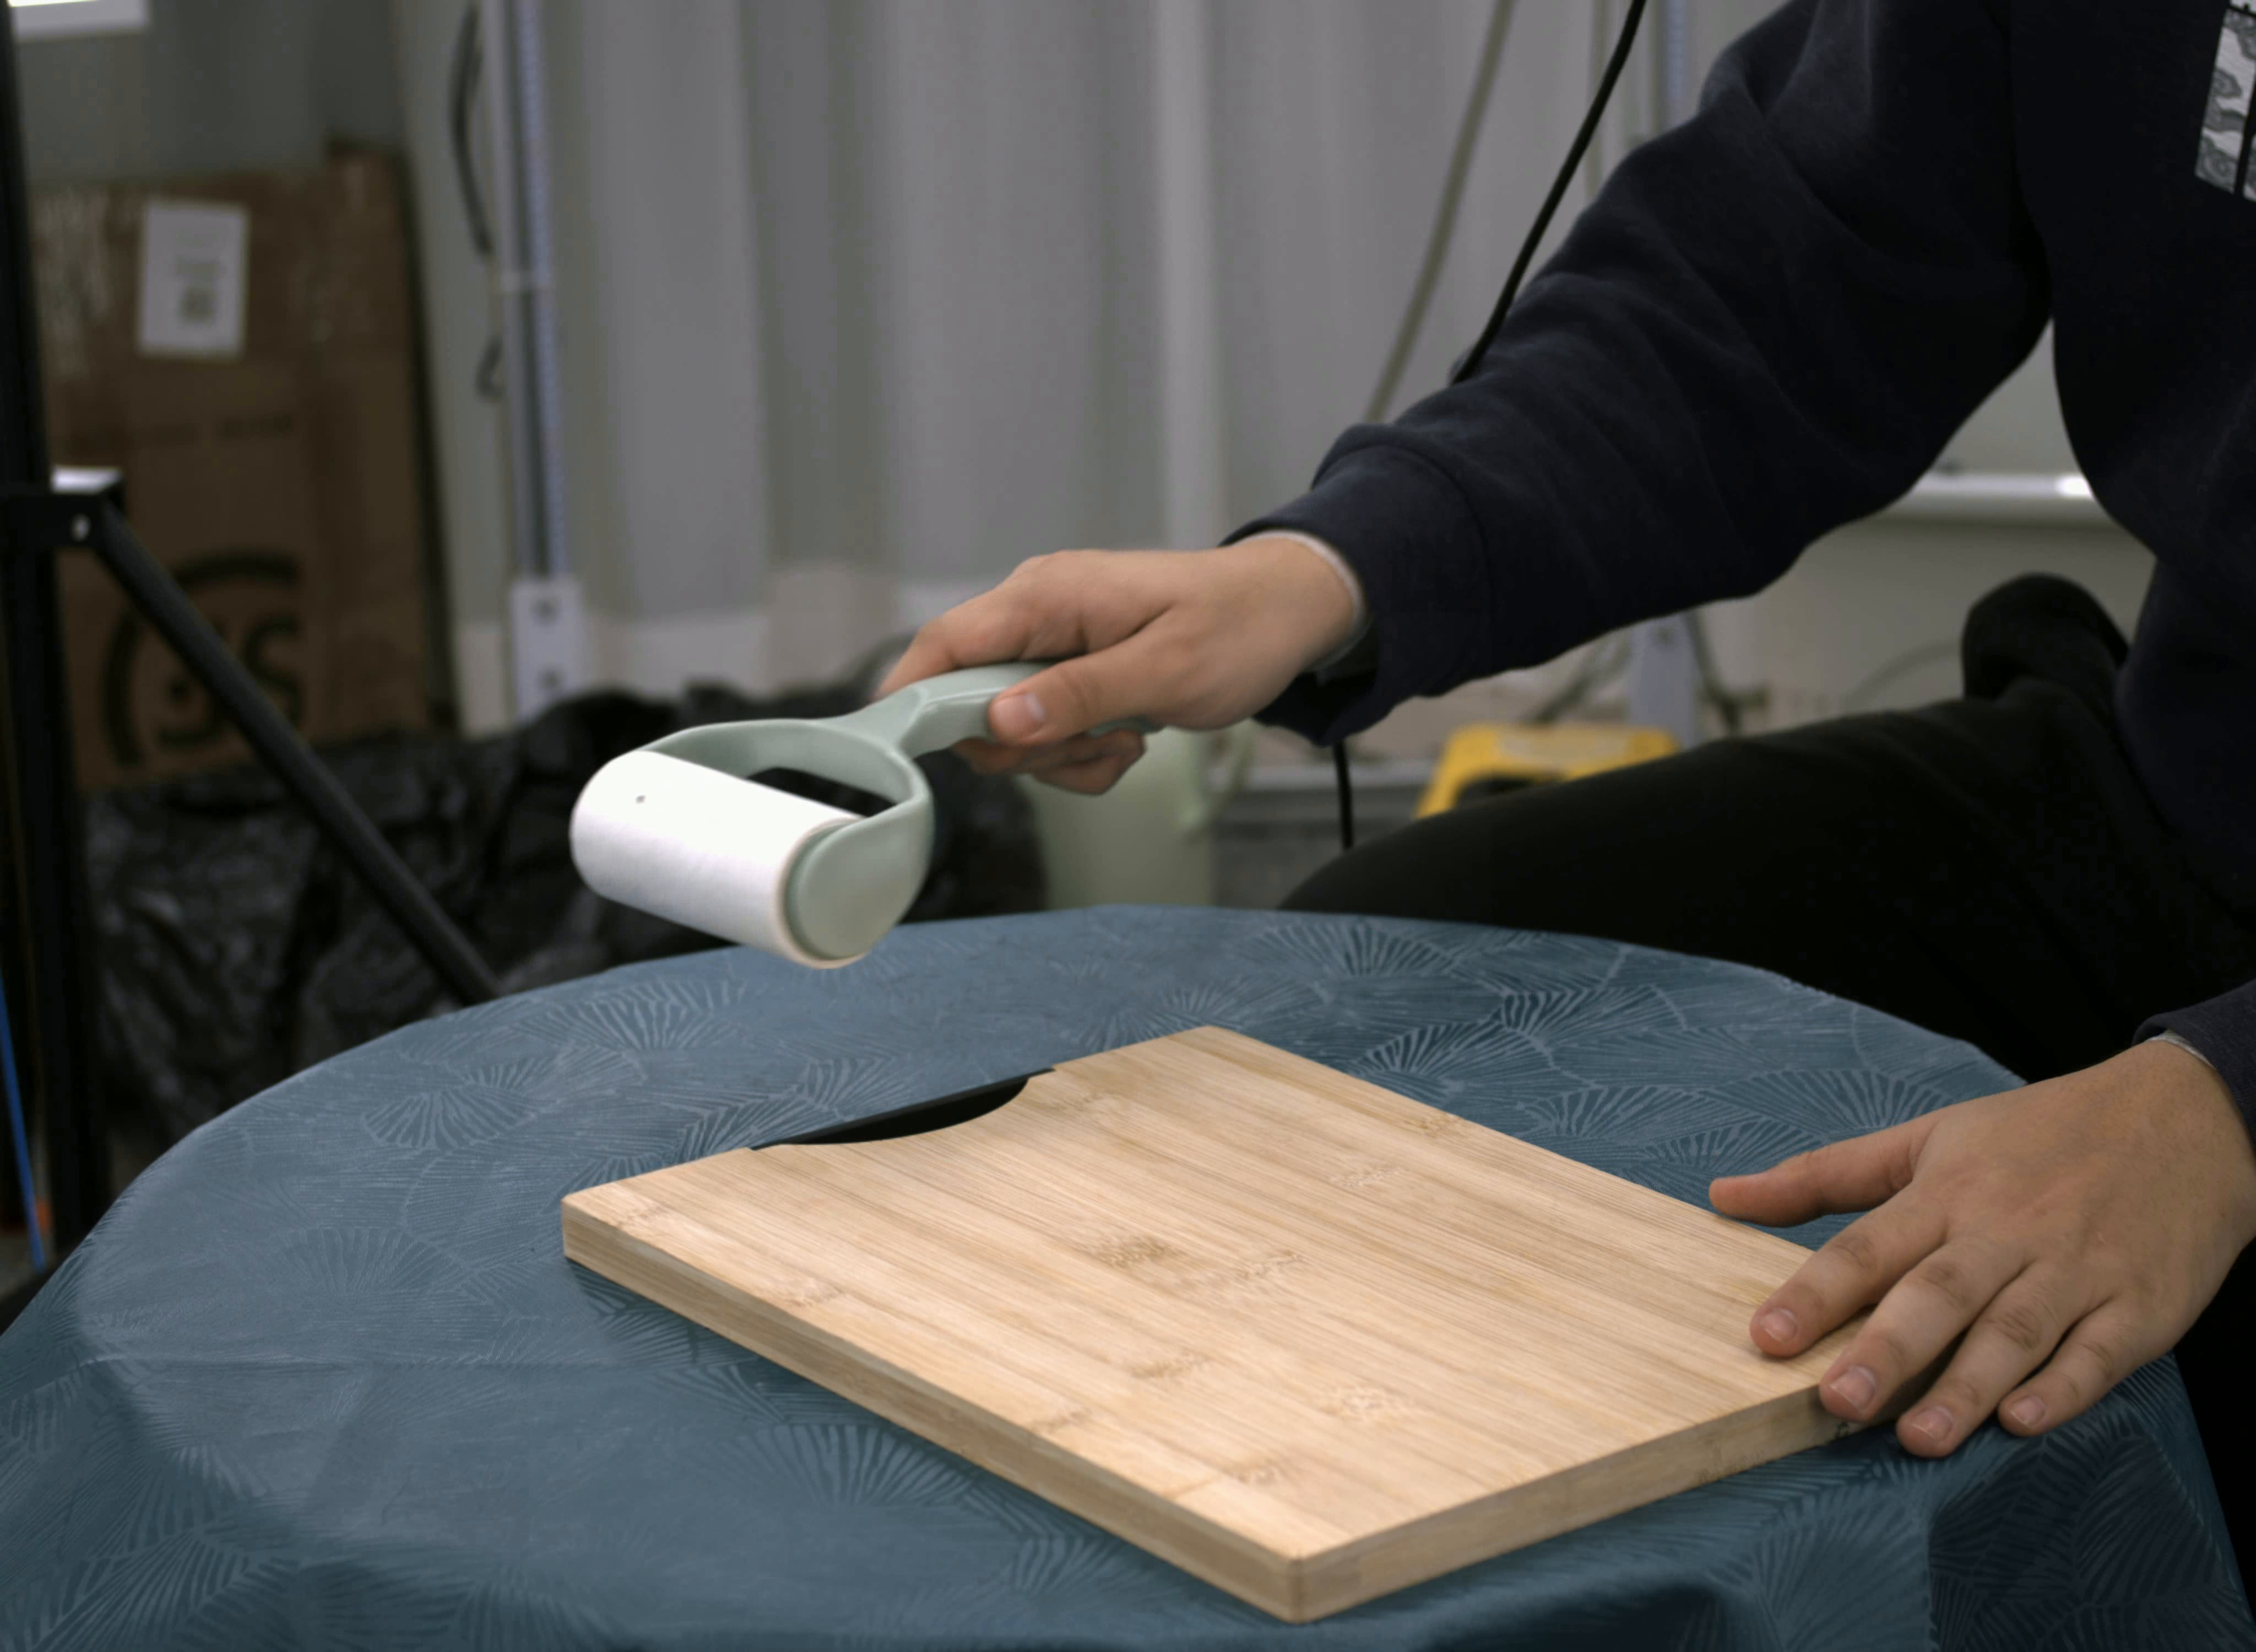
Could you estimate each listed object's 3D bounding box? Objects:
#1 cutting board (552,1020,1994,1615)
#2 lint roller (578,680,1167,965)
[{"bbox_3d":[0.032,0.126,1.460,0.245,0.023,0.357,-13,19,-35],"label":"cutting board"},{"bbox_3d":[-0.061,-0.015,1.625,0.194,0.048,0.119,-25,24,-34],"label":"lint roller"}]
